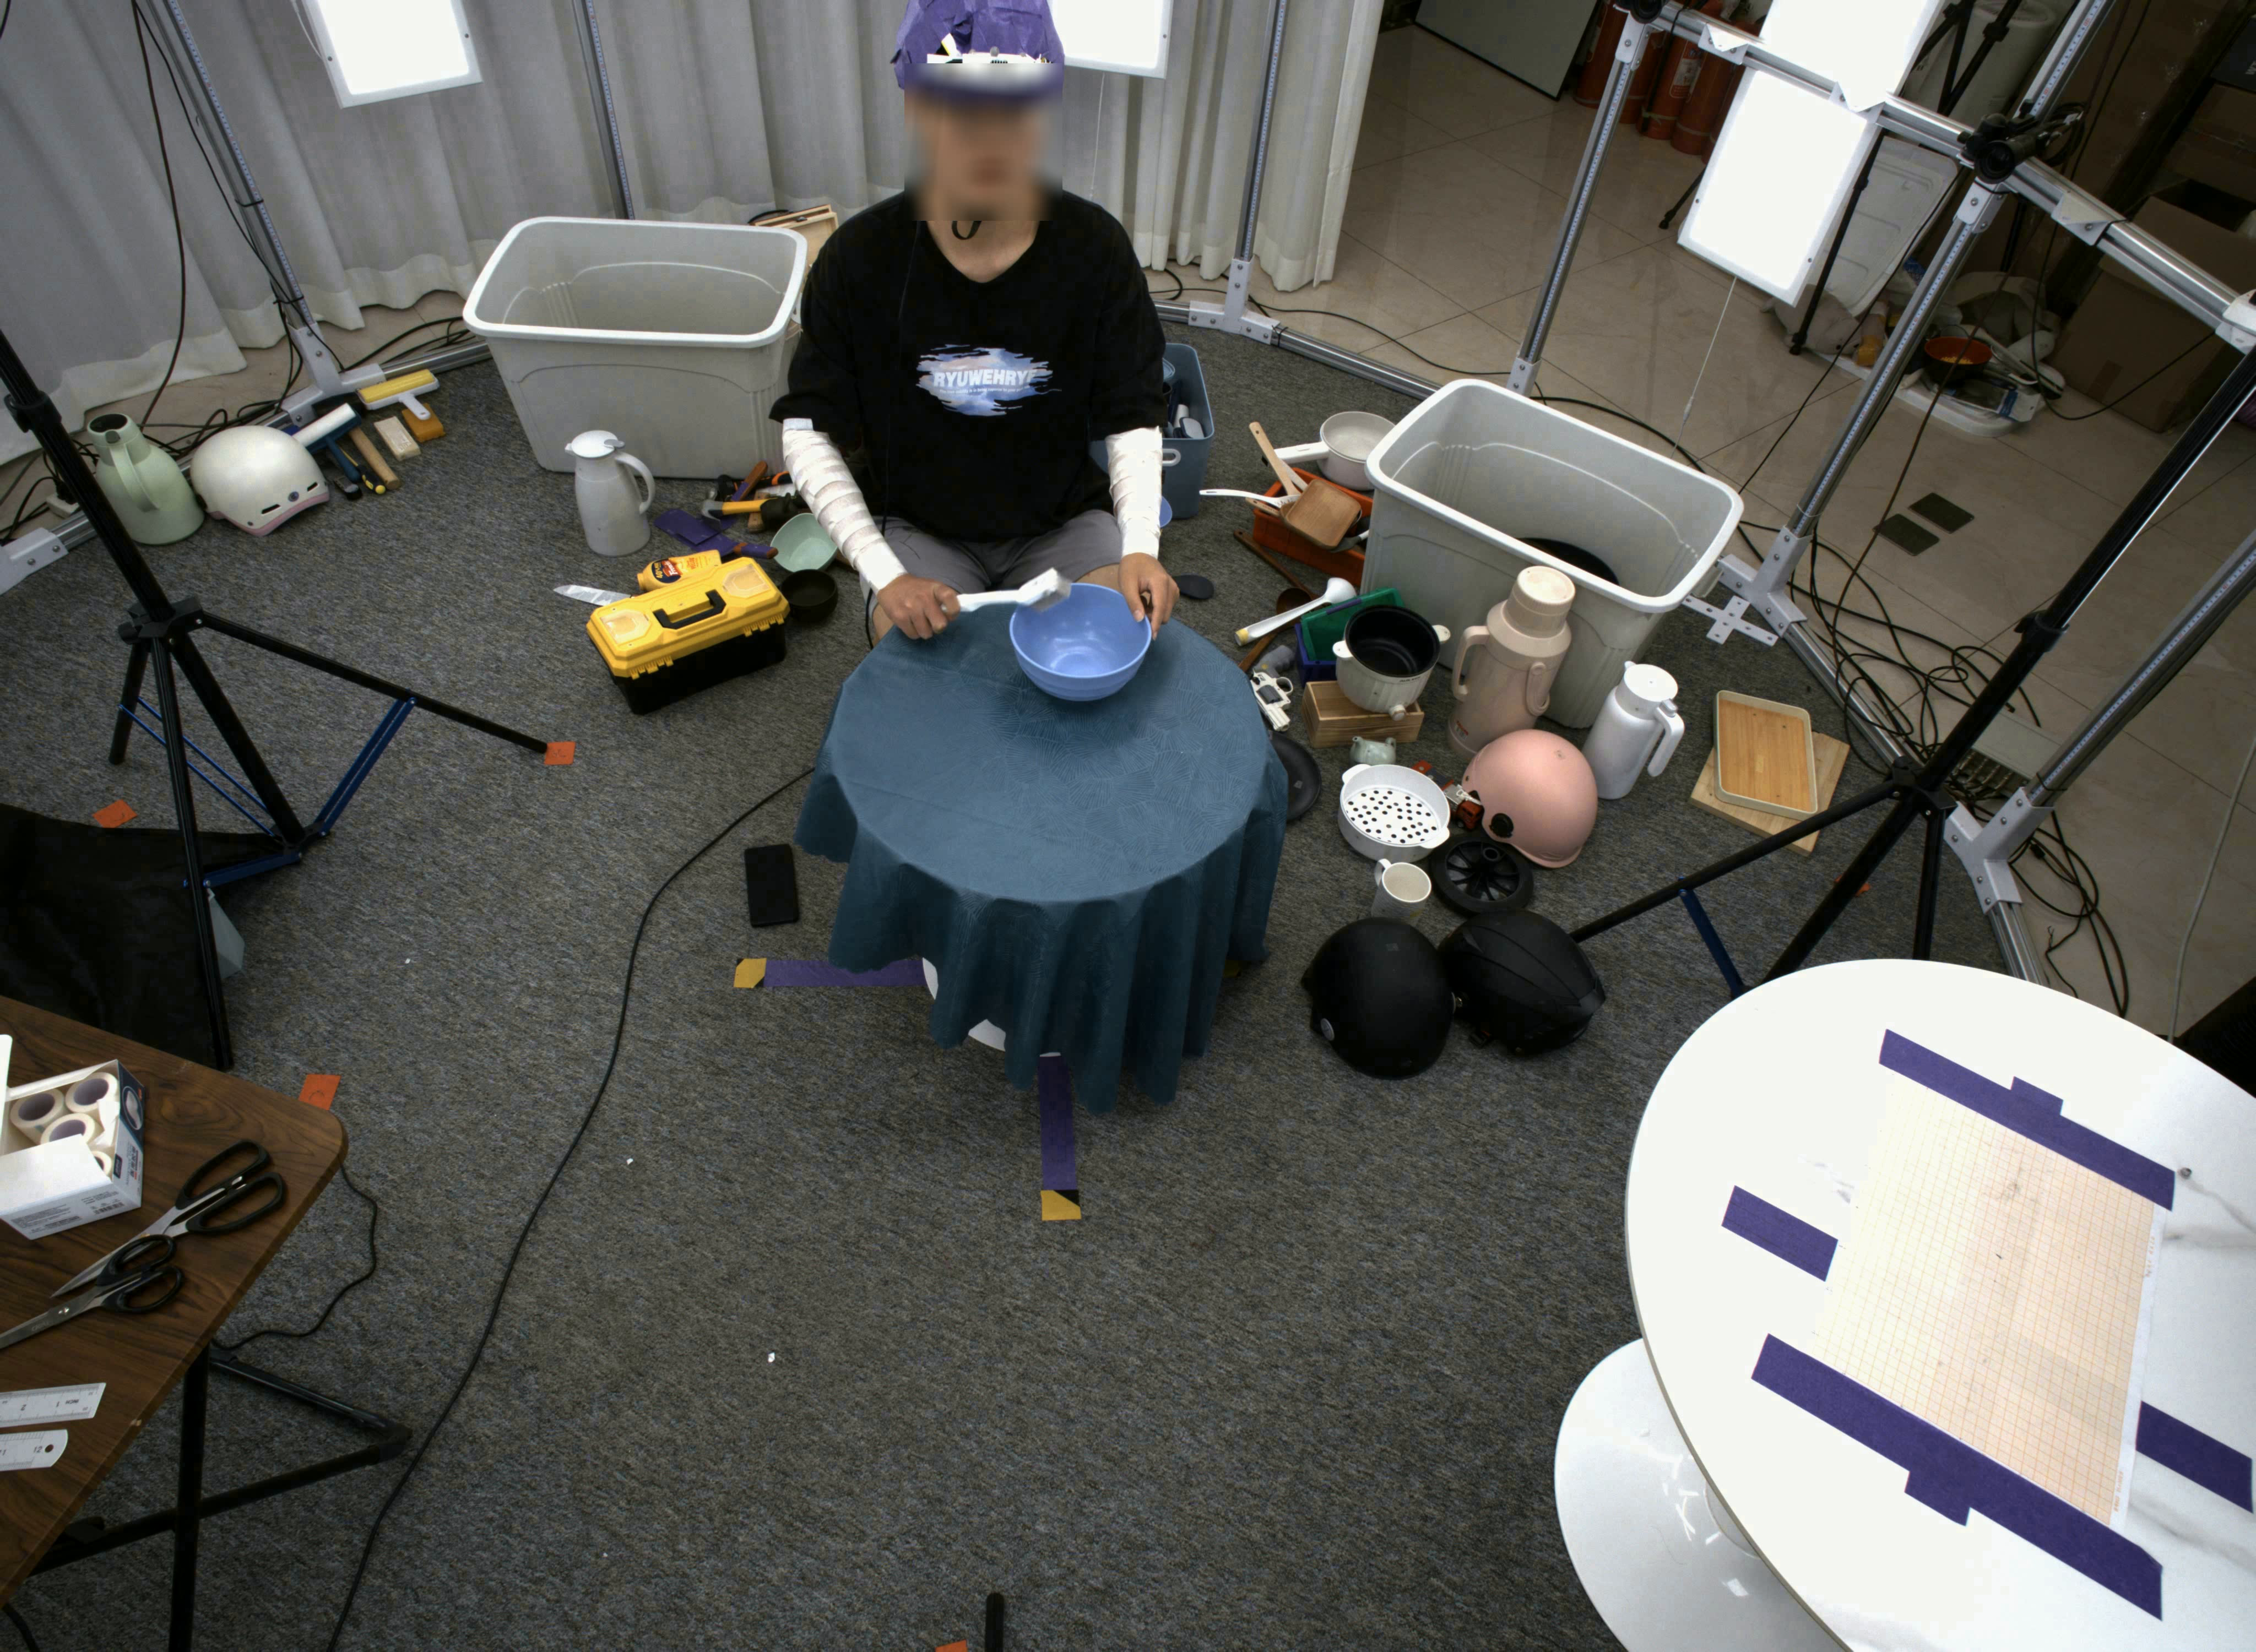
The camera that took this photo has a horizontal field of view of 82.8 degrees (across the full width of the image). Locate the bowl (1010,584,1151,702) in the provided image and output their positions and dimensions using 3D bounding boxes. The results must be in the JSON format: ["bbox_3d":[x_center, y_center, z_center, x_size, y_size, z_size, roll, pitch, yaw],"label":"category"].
[{"bbox_3d":[-0.066,-0.245,1.821,0.196,0.093,0.201,0,49,-1],"label":"bowl"}]

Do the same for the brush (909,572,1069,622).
[{"bbox_3d":[-0.197,-0.310,1.823,0.243,0.049,0.035,-9,55,22],"label":"brush"}]
